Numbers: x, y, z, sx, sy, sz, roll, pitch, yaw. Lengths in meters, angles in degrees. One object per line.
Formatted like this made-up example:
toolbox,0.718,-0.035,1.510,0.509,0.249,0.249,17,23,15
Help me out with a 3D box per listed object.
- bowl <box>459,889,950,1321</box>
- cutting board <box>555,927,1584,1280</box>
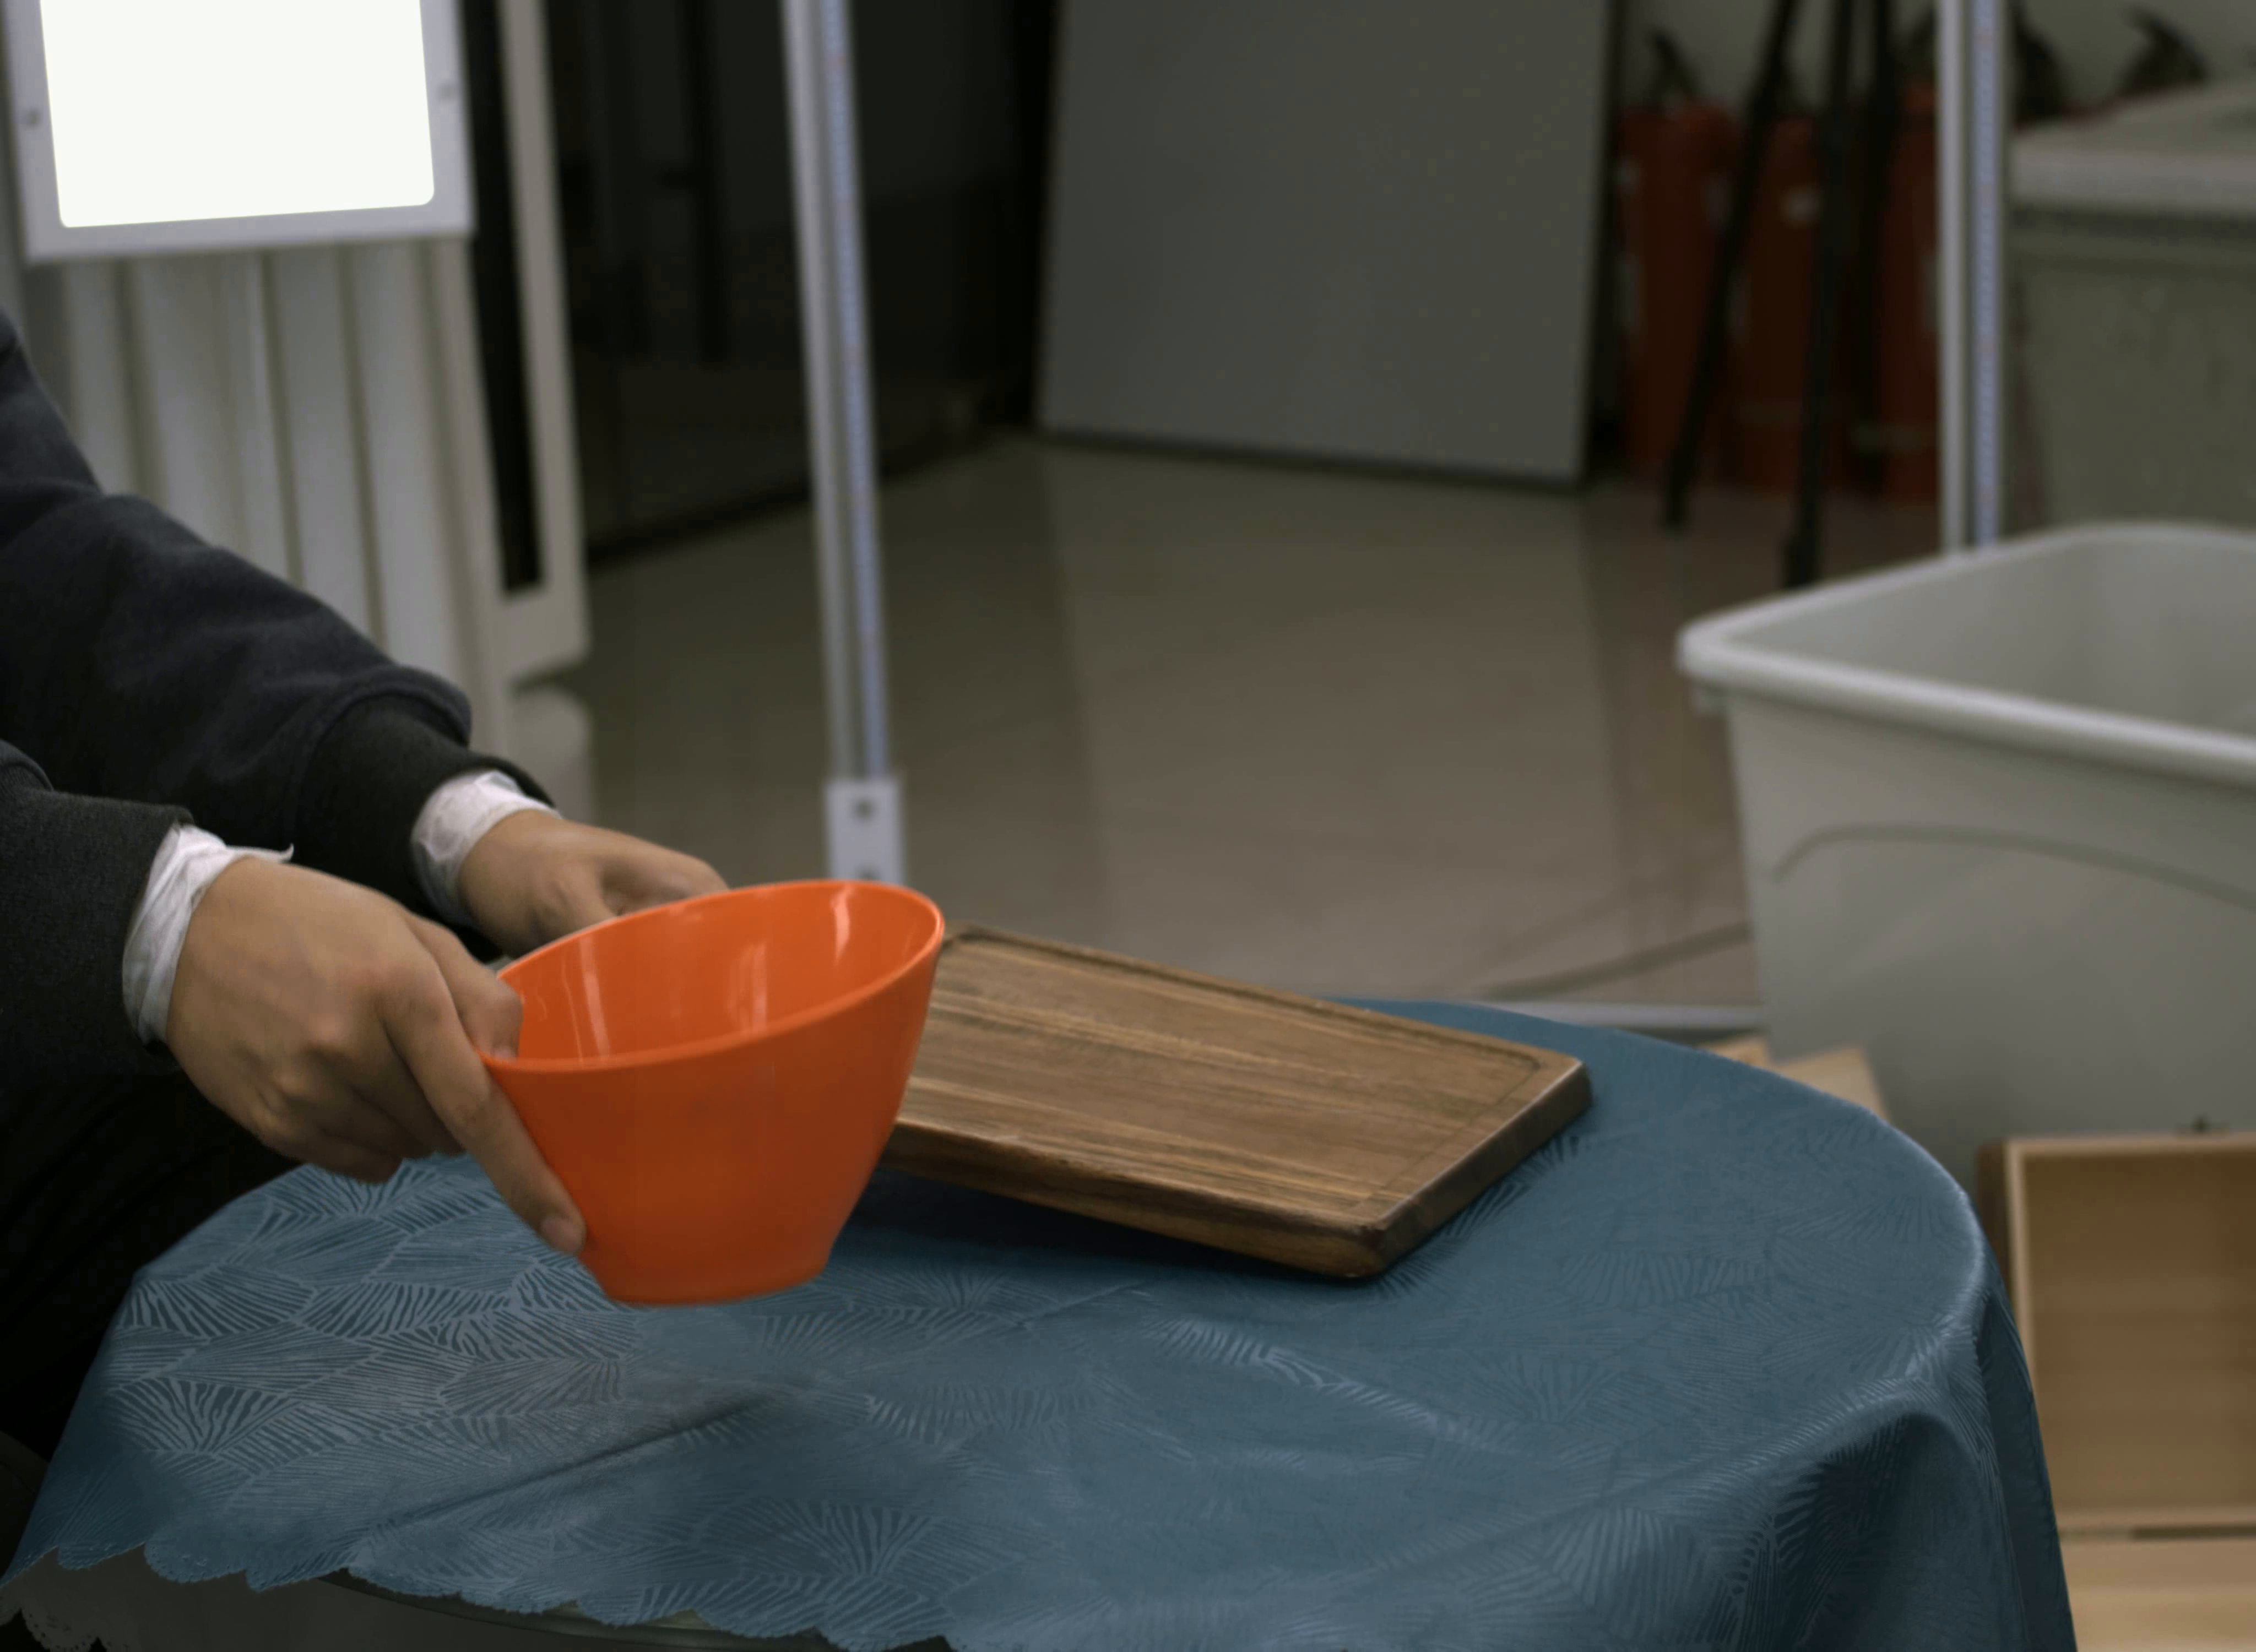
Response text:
bowl,-0.120,0.084,1.589,0.146,0.106,0.148,-7,8,0
cutting board,-0.038,0.079,1.810,0.353,0.023,0.198,11,18,24
